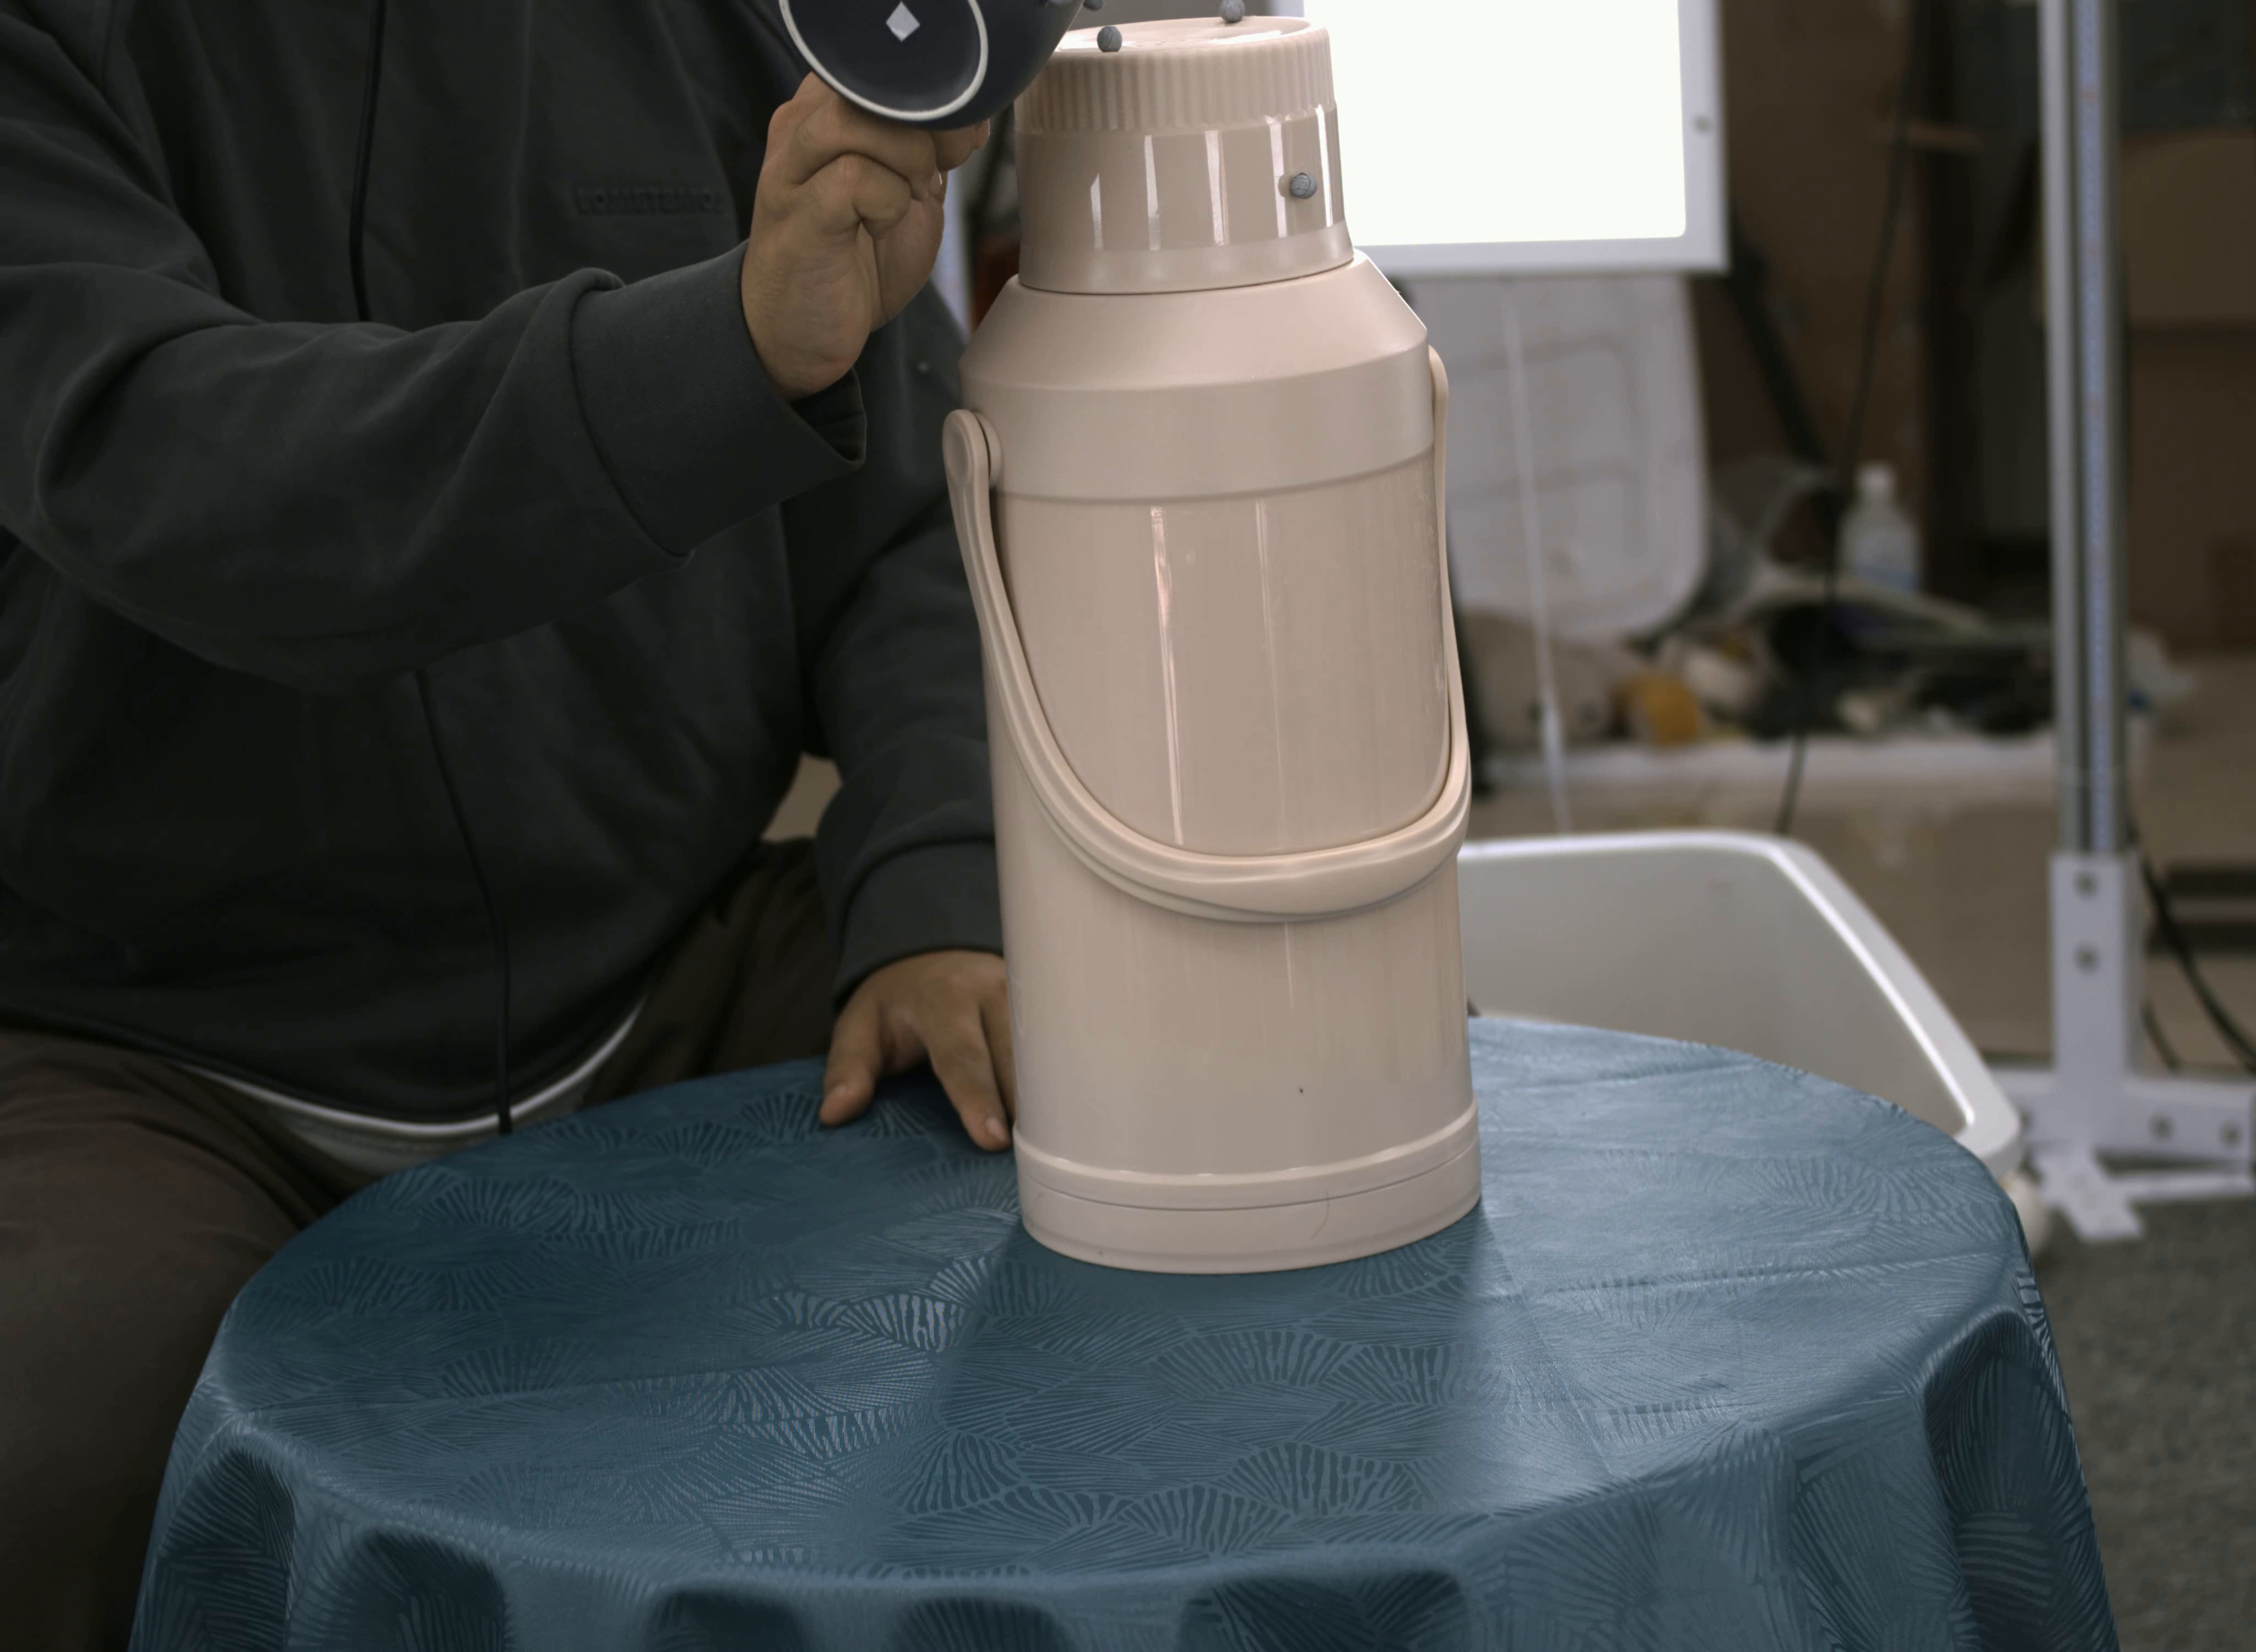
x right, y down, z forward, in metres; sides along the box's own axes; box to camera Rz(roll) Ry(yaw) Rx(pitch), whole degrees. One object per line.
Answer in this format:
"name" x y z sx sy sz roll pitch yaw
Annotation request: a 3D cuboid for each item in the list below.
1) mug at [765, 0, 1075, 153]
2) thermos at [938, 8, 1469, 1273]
"mug" -0.058 -0.263 1.701 0.094 0.124 0.088 27 50 12
"thermos" 0.021 -0.067 1.844 0.172 0.408 0.210 -10 15 -23
